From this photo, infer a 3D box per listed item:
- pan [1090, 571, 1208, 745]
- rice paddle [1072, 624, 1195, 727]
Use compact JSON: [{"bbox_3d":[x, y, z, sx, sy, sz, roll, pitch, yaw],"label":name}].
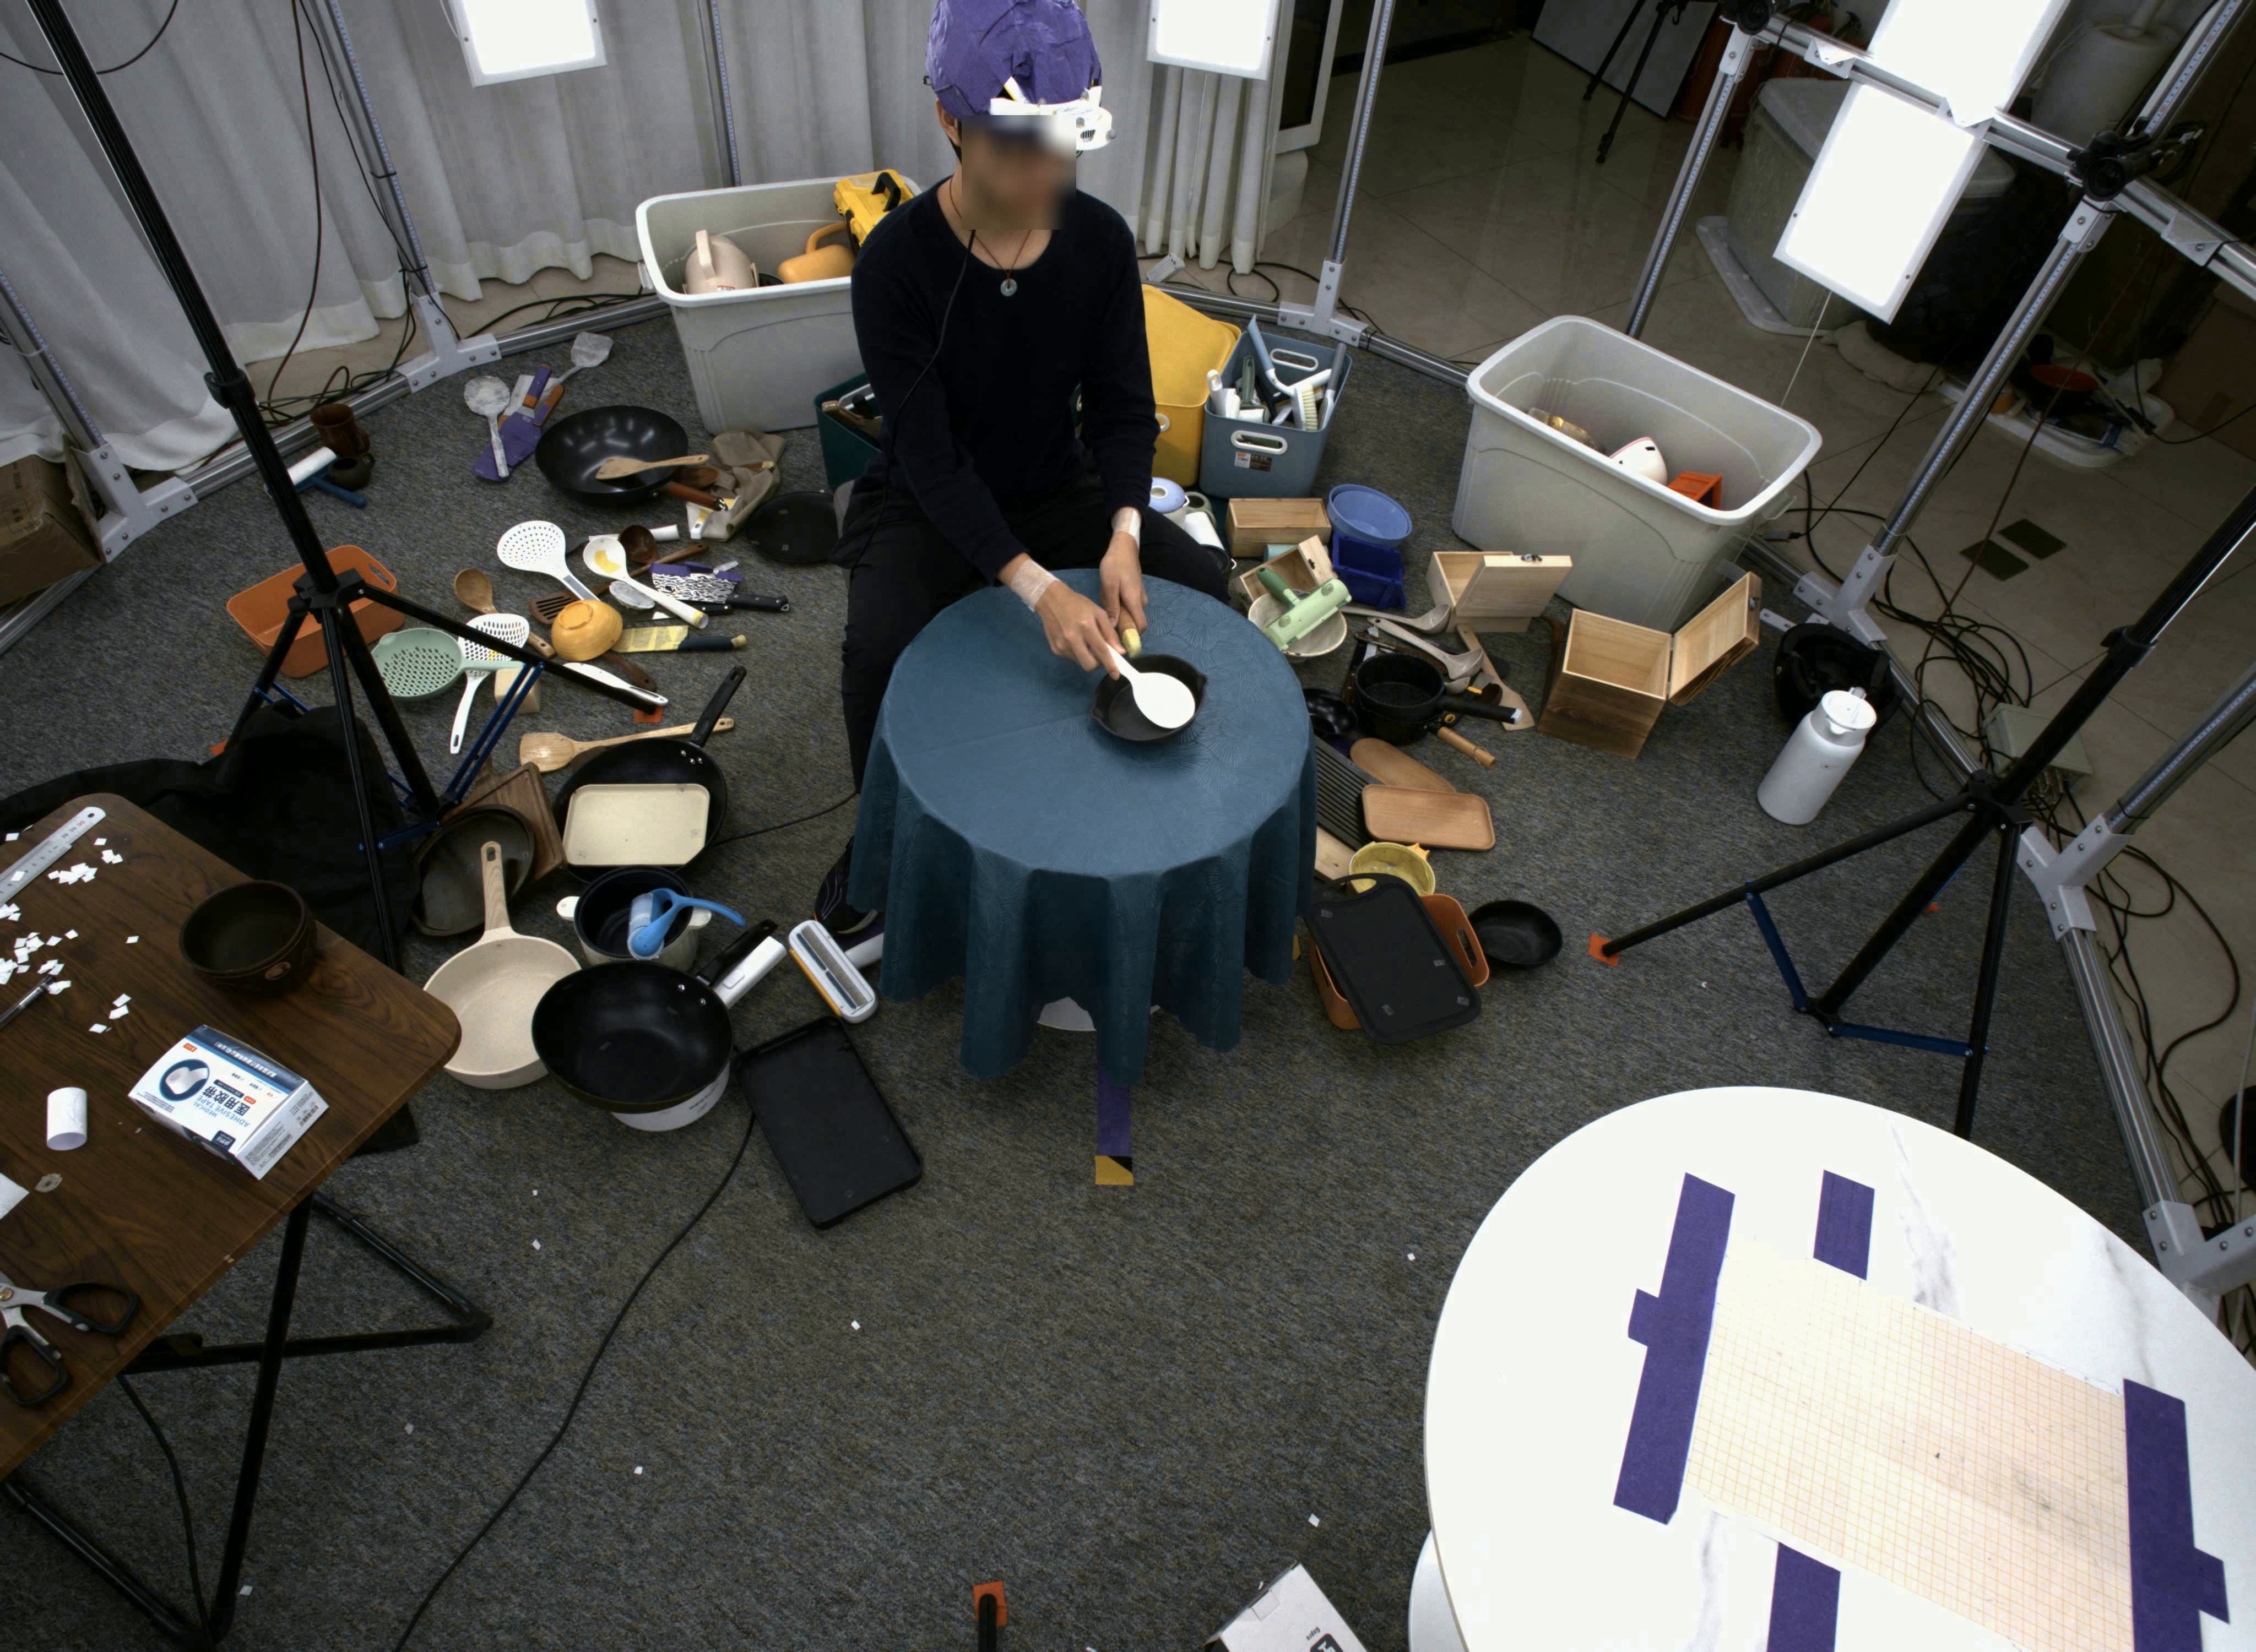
[{"bbox_3d":[0.014,-0.241,1.829,0.169,0.048,0.332,-14,52,1],"label":"pan"},{"bbox_3d":[0.009,-0.211,1.784,0.207,0.029,0.069,39,79,15],"label":"rice paddle"}]
